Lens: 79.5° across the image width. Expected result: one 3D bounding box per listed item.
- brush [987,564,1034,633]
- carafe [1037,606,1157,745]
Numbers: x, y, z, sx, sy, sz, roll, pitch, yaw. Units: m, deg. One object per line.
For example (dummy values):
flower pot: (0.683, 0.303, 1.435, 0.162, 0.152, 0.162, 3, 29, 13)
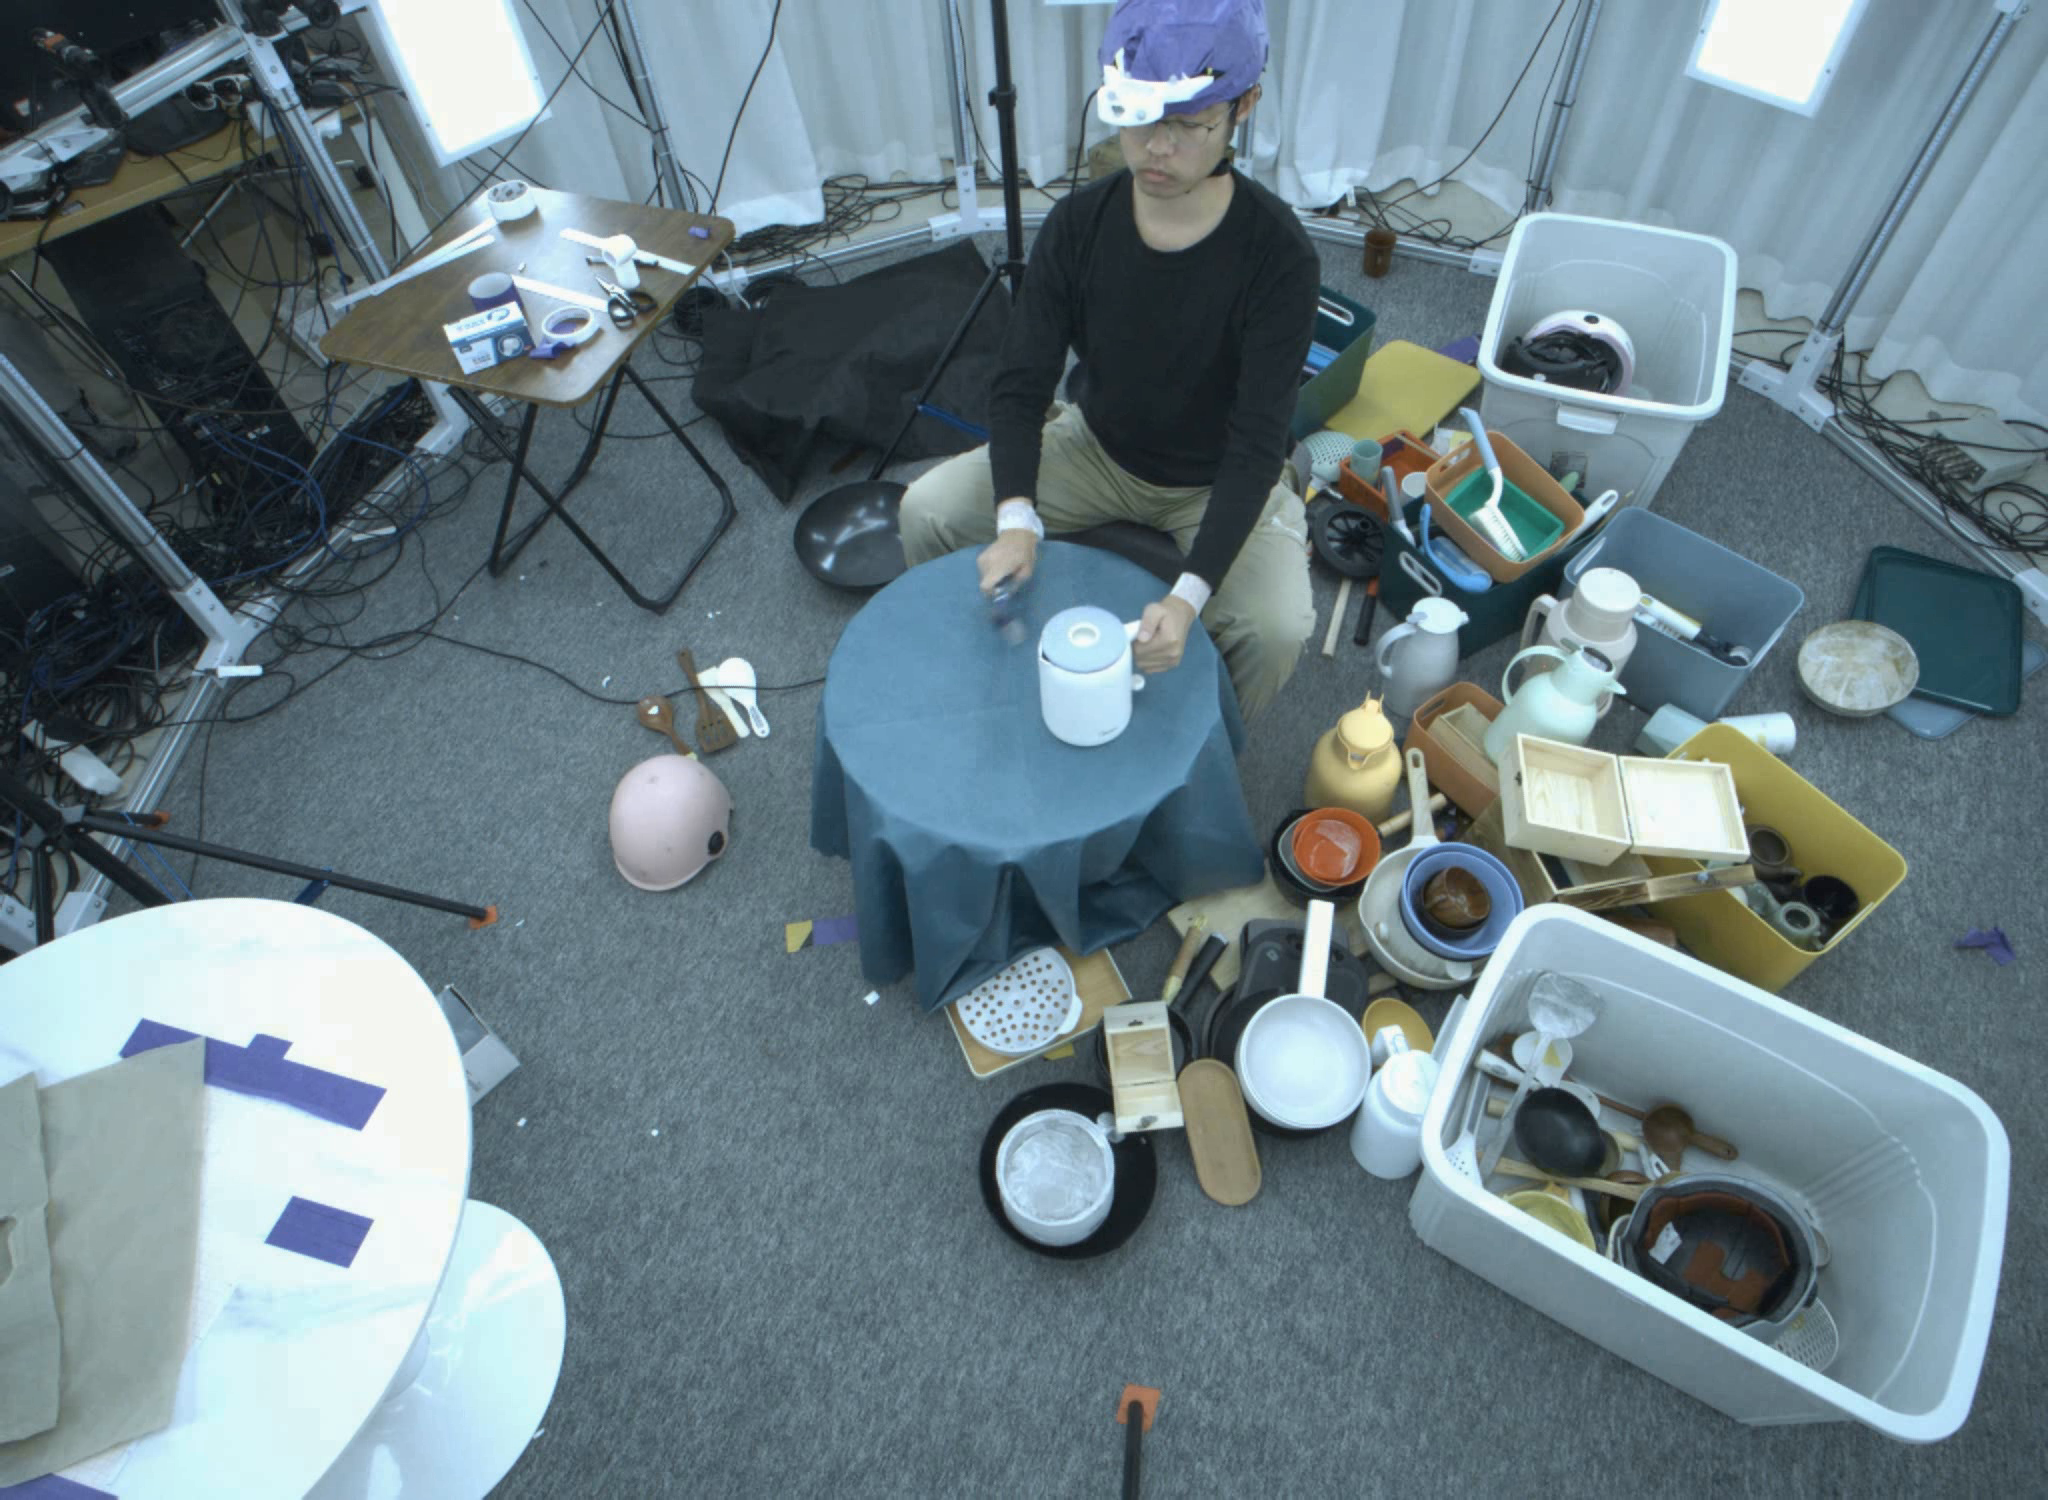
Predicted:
brush: (-0.025, -0.236, 1.792, 0.033, 0.097, 0.269, -39, 26, 13)
carafe: (0.109, -0.115, 1.759, 0.192, 0.184, 0.130, -25, 57, -15)
